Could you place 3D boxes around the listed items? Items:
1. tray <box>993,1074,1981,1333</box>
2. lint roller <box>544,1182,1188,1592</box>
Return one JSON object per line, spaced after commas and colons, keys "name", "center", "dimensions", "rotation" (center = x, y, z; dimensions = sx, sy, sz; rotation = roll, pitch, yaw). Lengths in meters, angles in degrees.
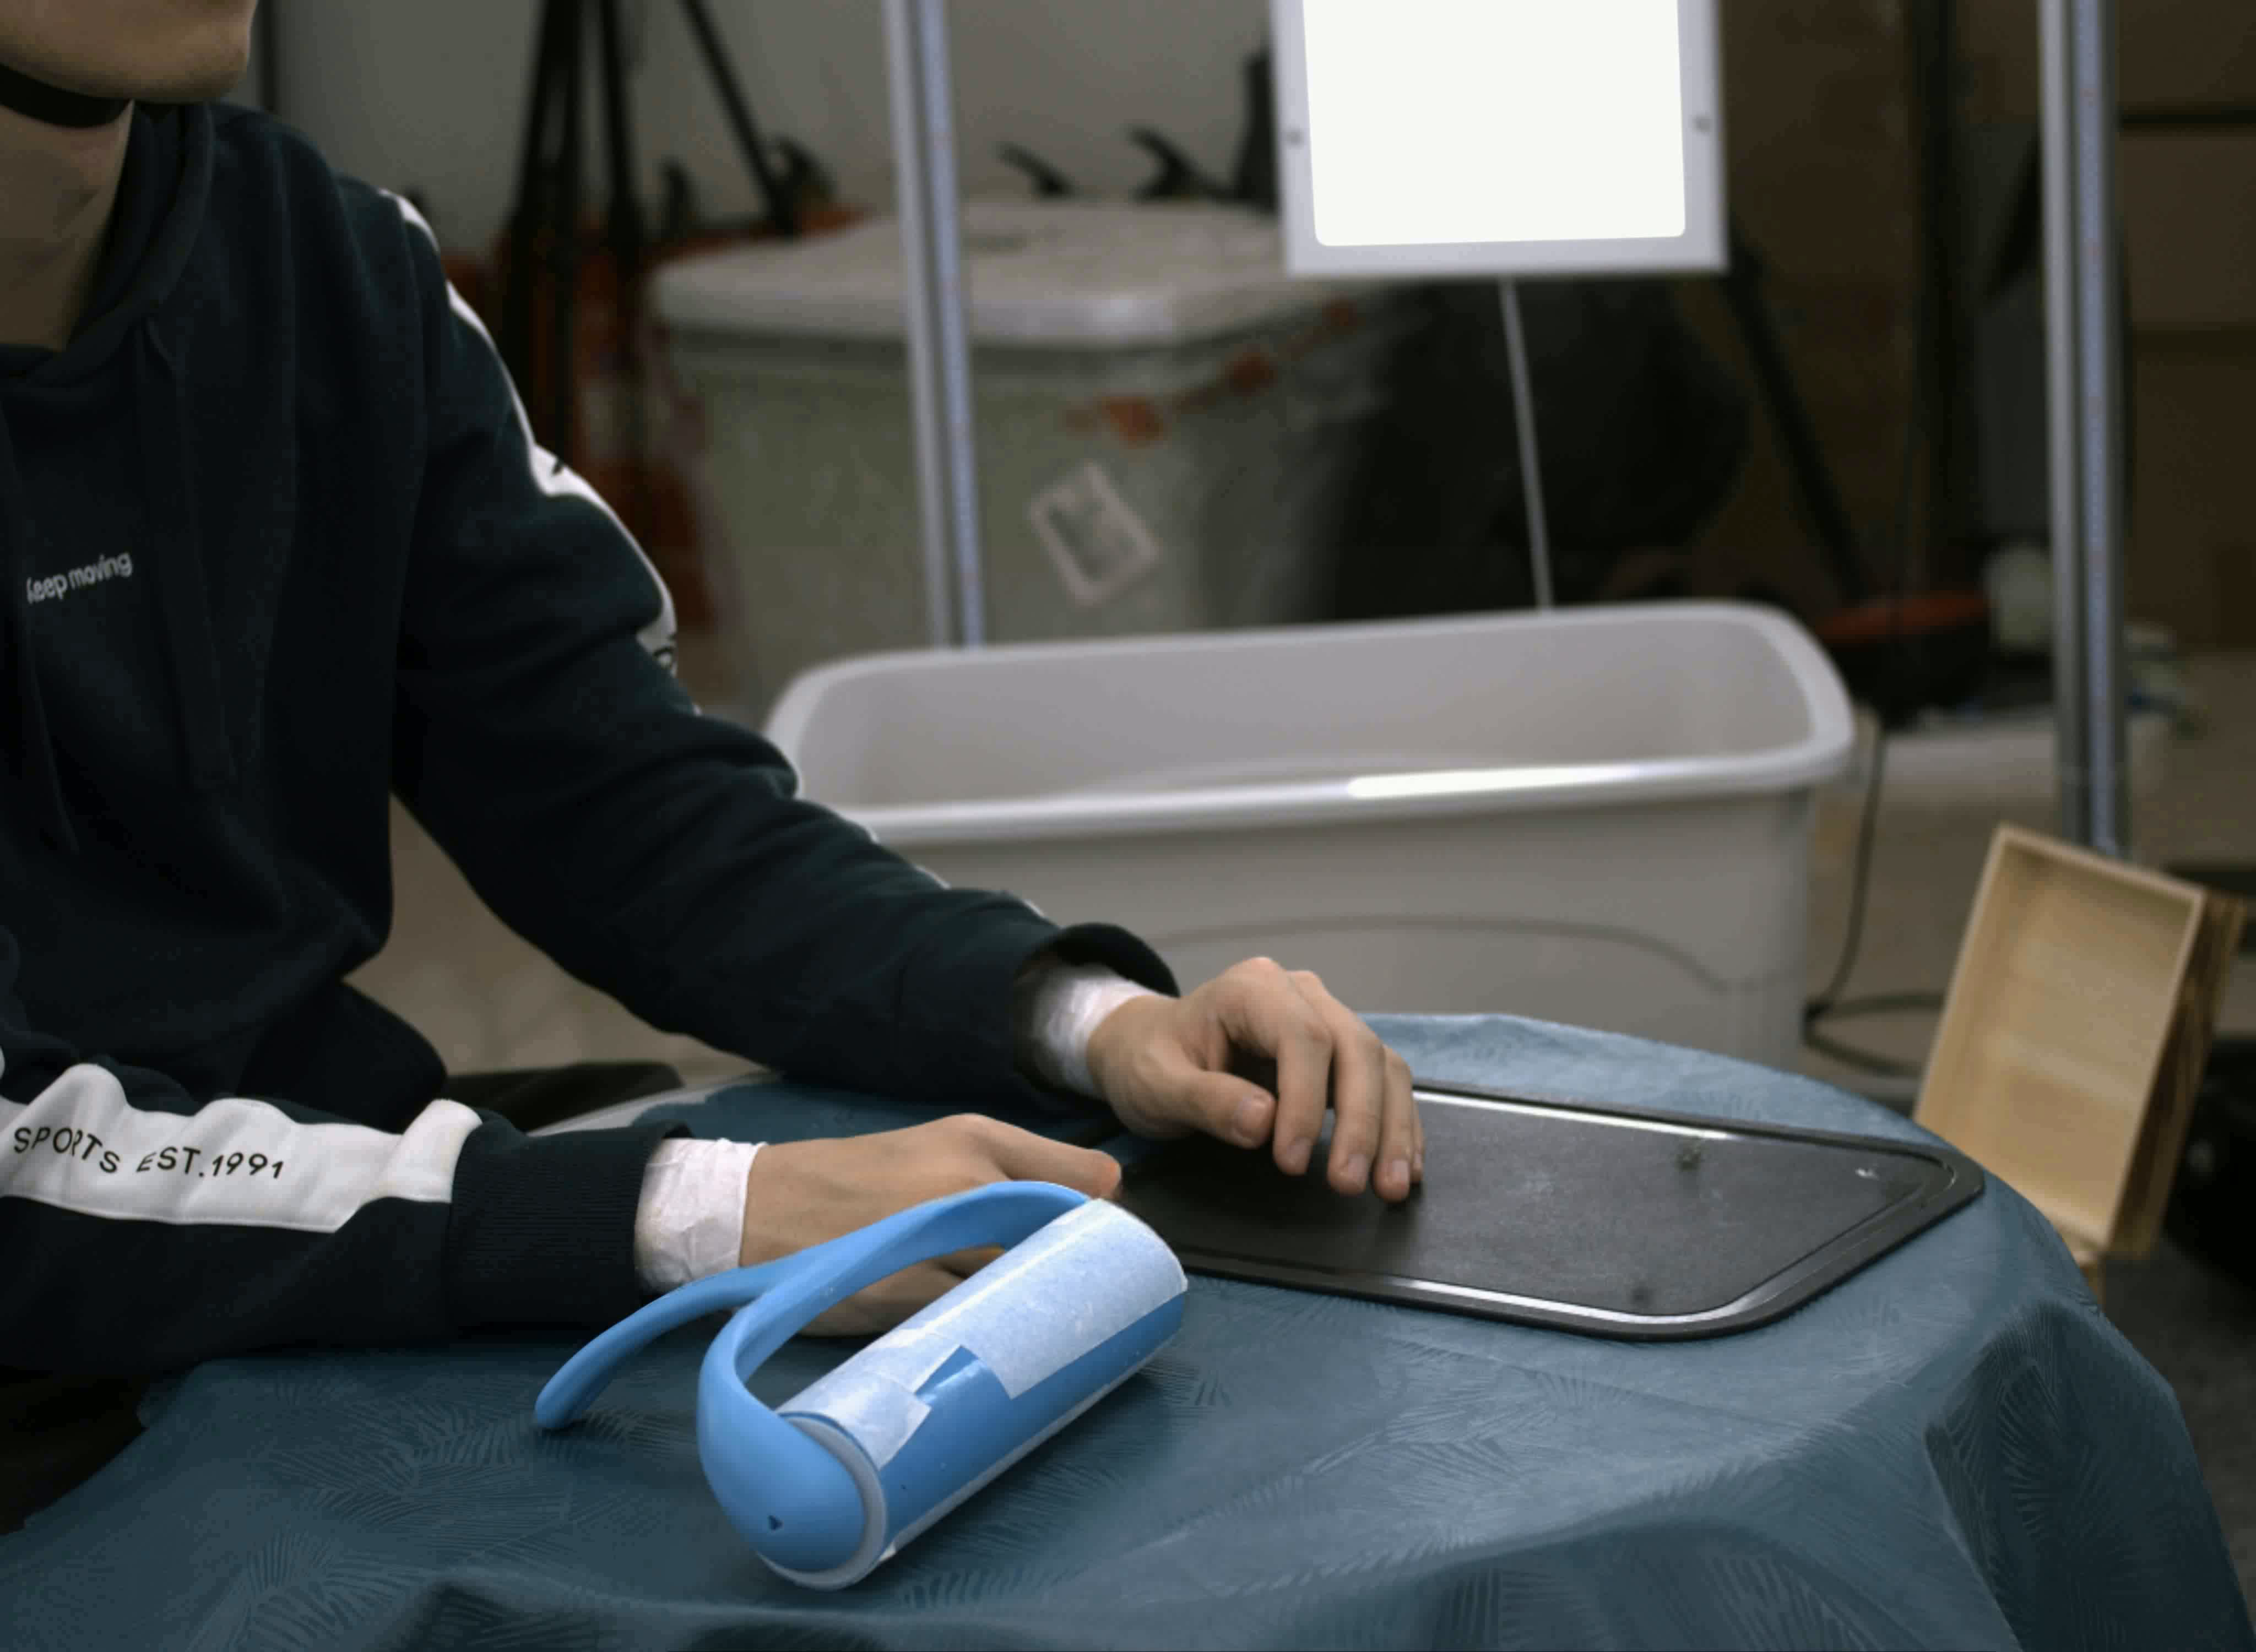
{"name": "tray", "center": [0.112, 0.123, 1.855], "dimensions": [0.332, 0.010, 0.206], "rotation": [5, 17, 38]}
{"name": "lint roller", "center": [-0.101, 0.163, 1.662], "dimensions": [0.183, 0.068, 0.224], "rotation": [3, 17, 25]}
